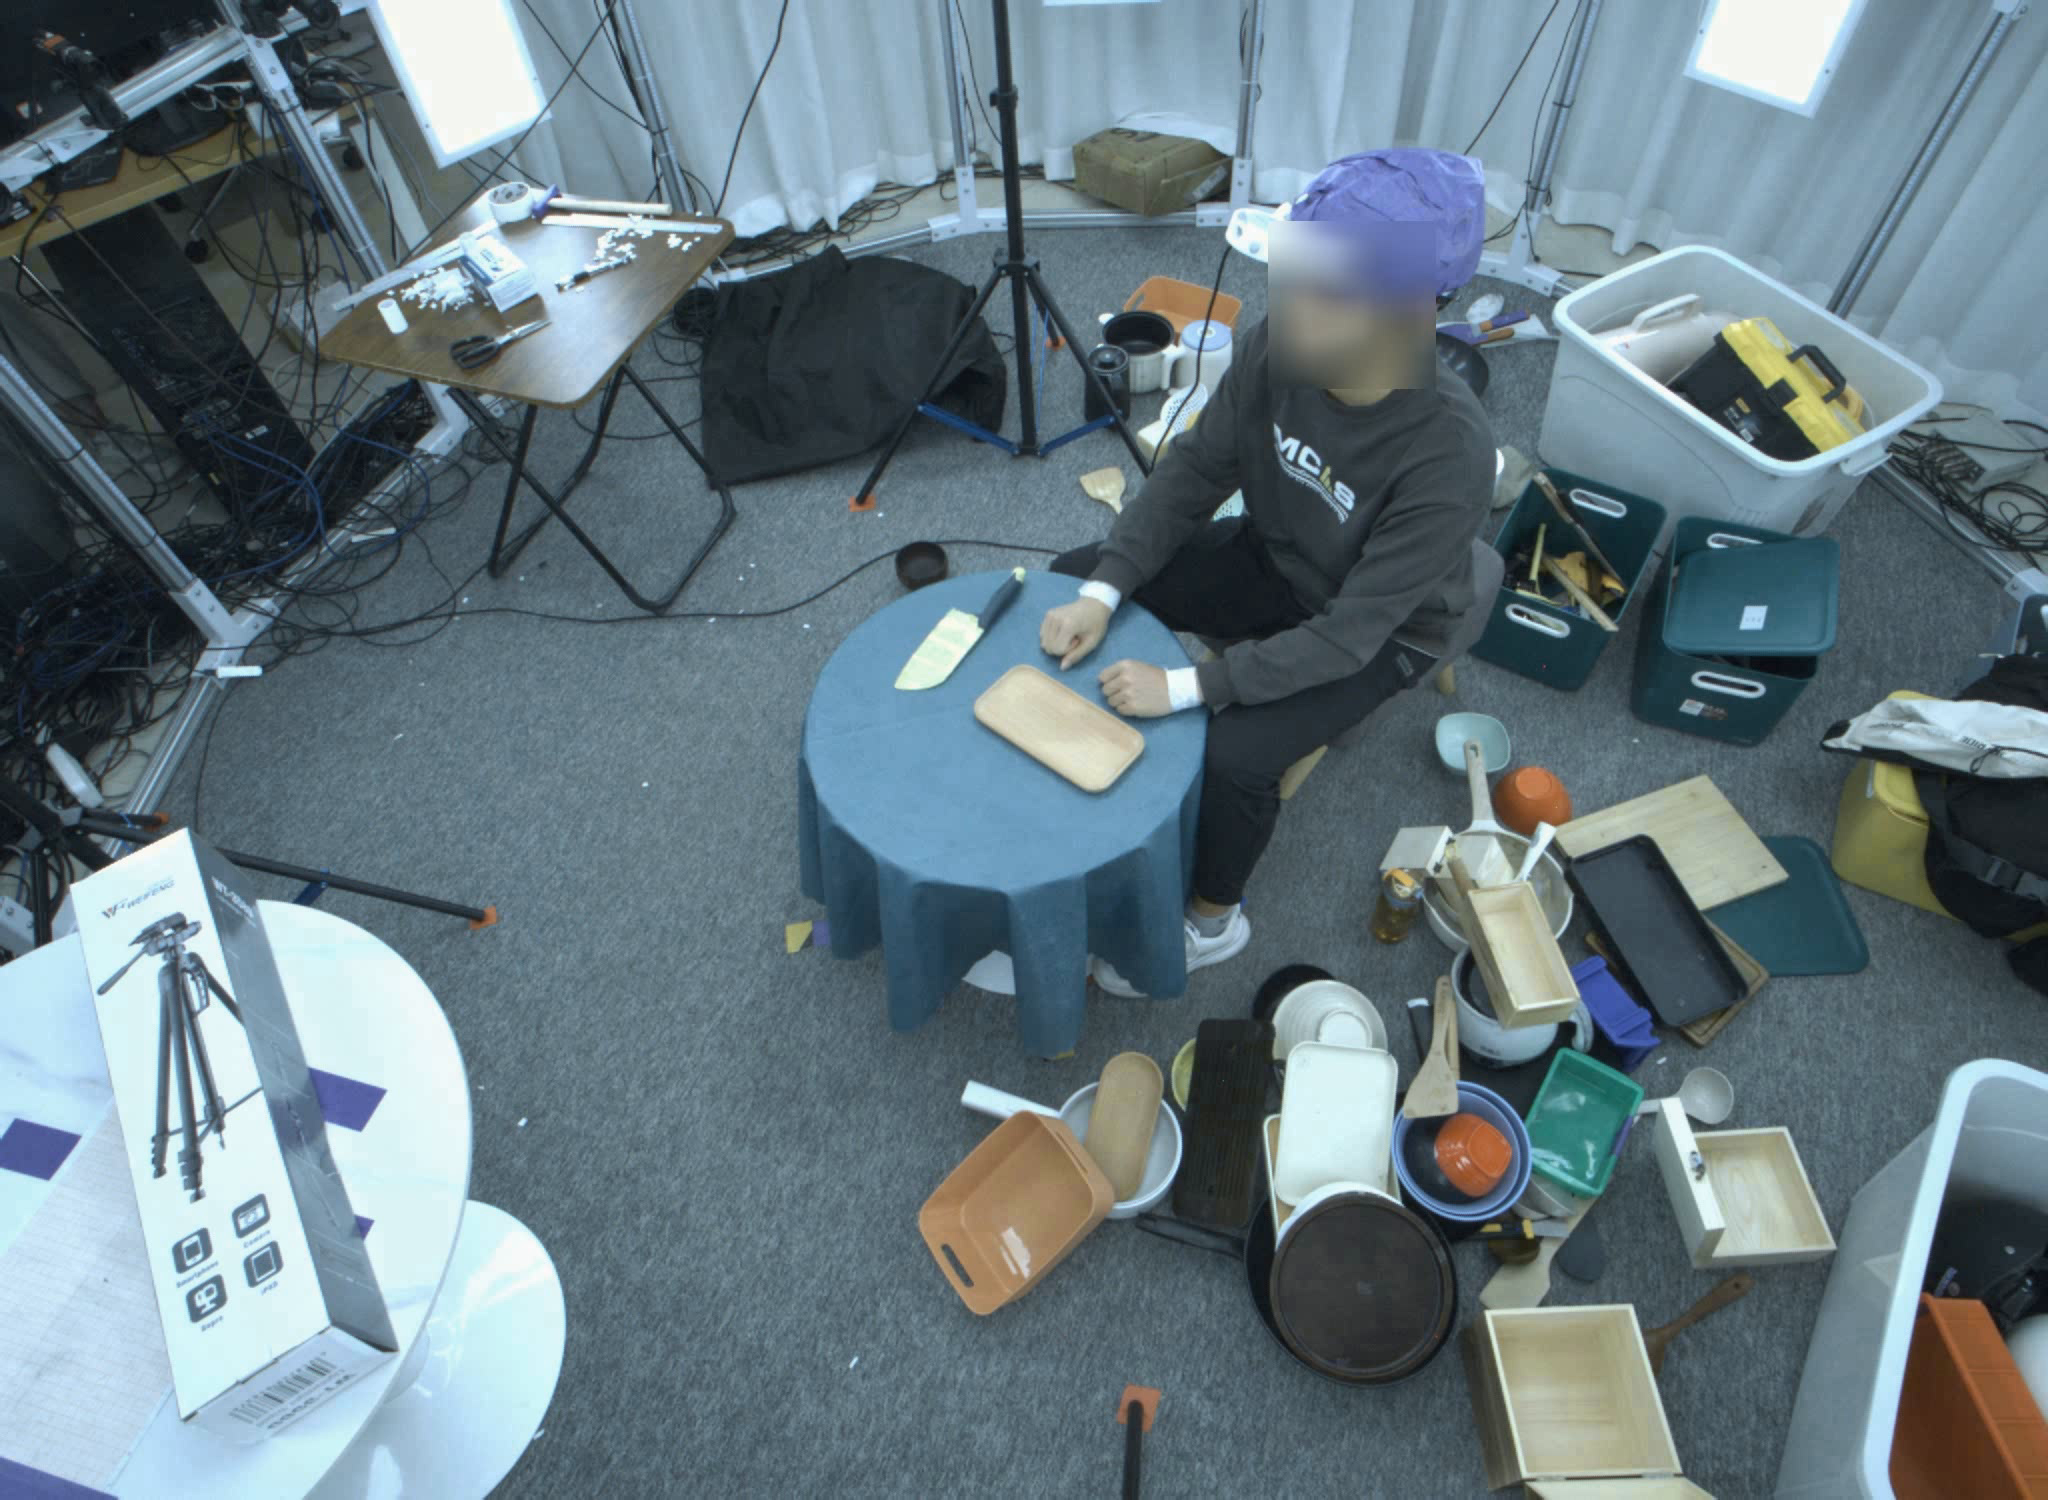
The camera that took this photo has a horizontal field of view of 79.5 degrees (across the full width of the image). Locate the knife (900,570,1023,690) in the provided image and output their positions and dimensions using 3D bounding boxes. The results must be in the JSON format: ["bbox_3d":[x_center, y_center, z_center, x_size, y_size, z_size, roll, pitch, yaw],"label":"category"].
[{"bbox_3d":[-0.098,-0.192,1.926,0.080,0.027,0.291,30,61,19],"label":"knife"}]

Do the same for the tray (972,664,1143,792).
[{"bbox_3d":[0.047,-0.034,1.808,0.246,0.023,0.131,33,59,23],"label":"tray"}]
